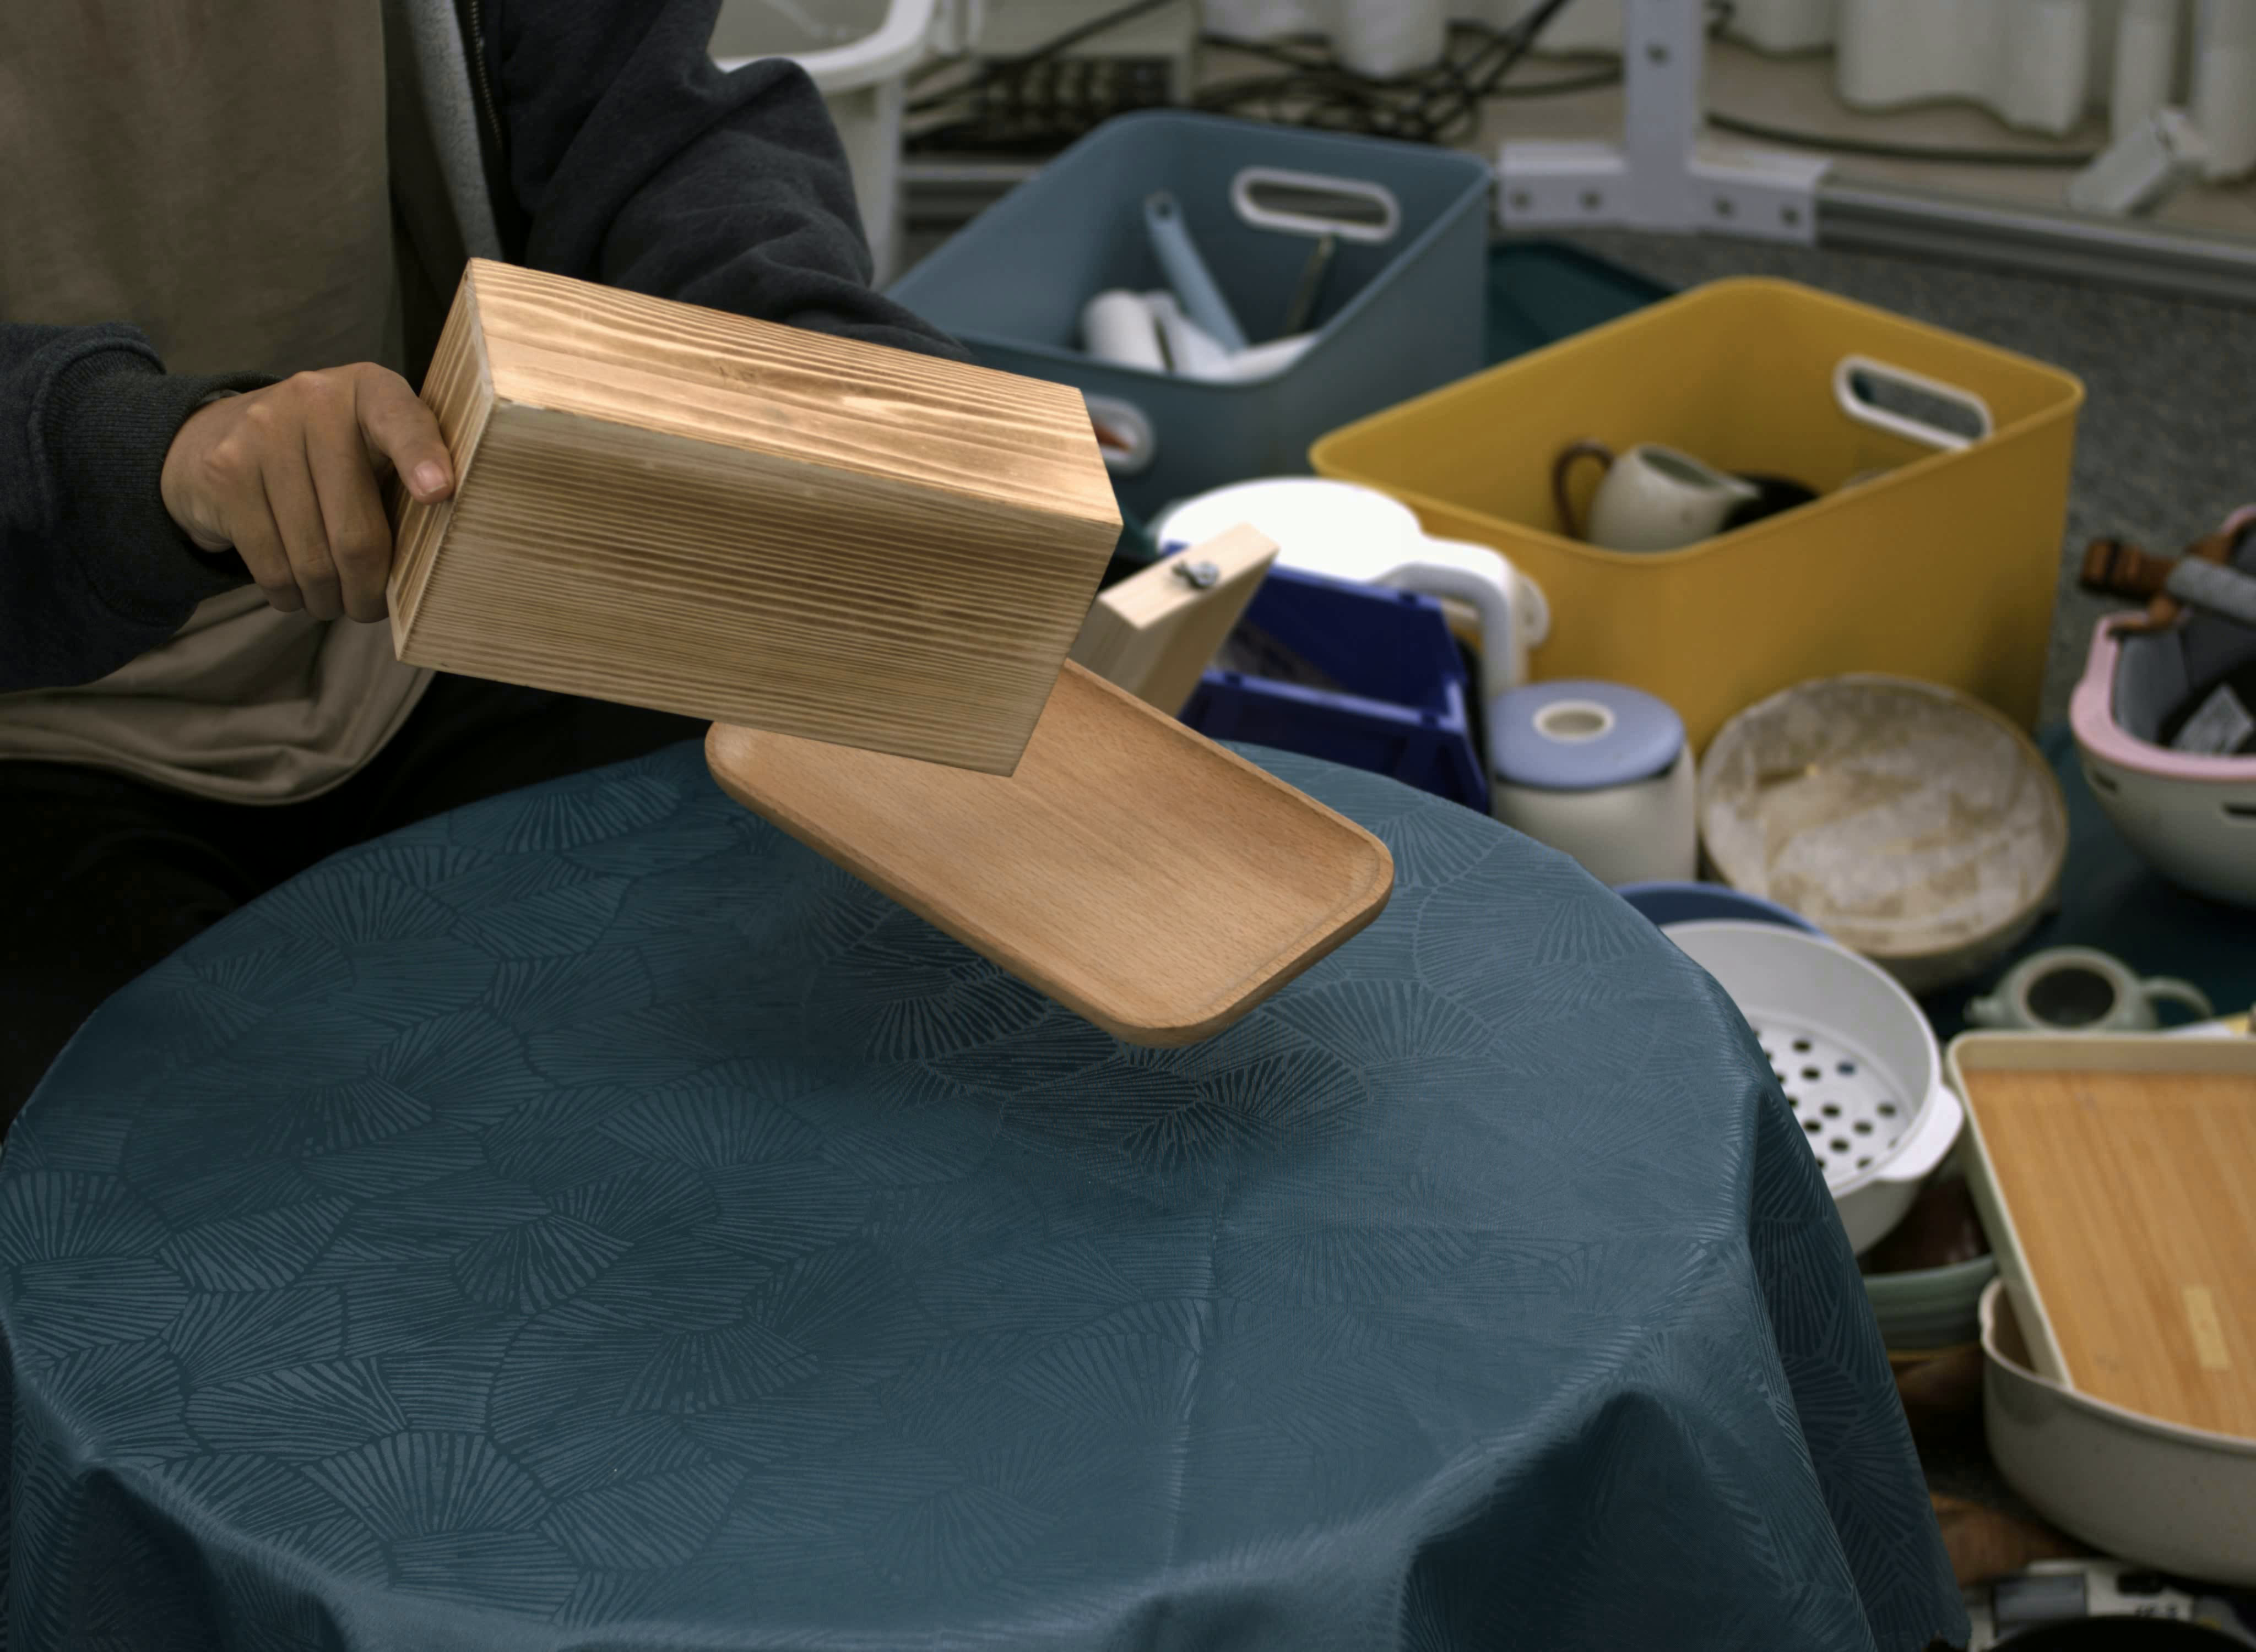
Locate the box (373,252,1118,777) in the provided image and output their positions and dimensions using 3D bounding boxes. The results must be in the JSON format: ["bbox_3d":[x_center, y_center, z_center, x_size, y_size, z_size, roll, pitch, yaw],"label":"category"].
[{"bbox_3d":[-0.124,-0.098,1.813,0.211,0.106,0.081,11,34,-22],"label":"box"}]

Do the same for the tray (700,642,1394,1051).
[{"bbox_3d":[-0.030,-0.003,1.945,0.132,0.022,0.251,-31,45,-33],"label":"tray"}]
